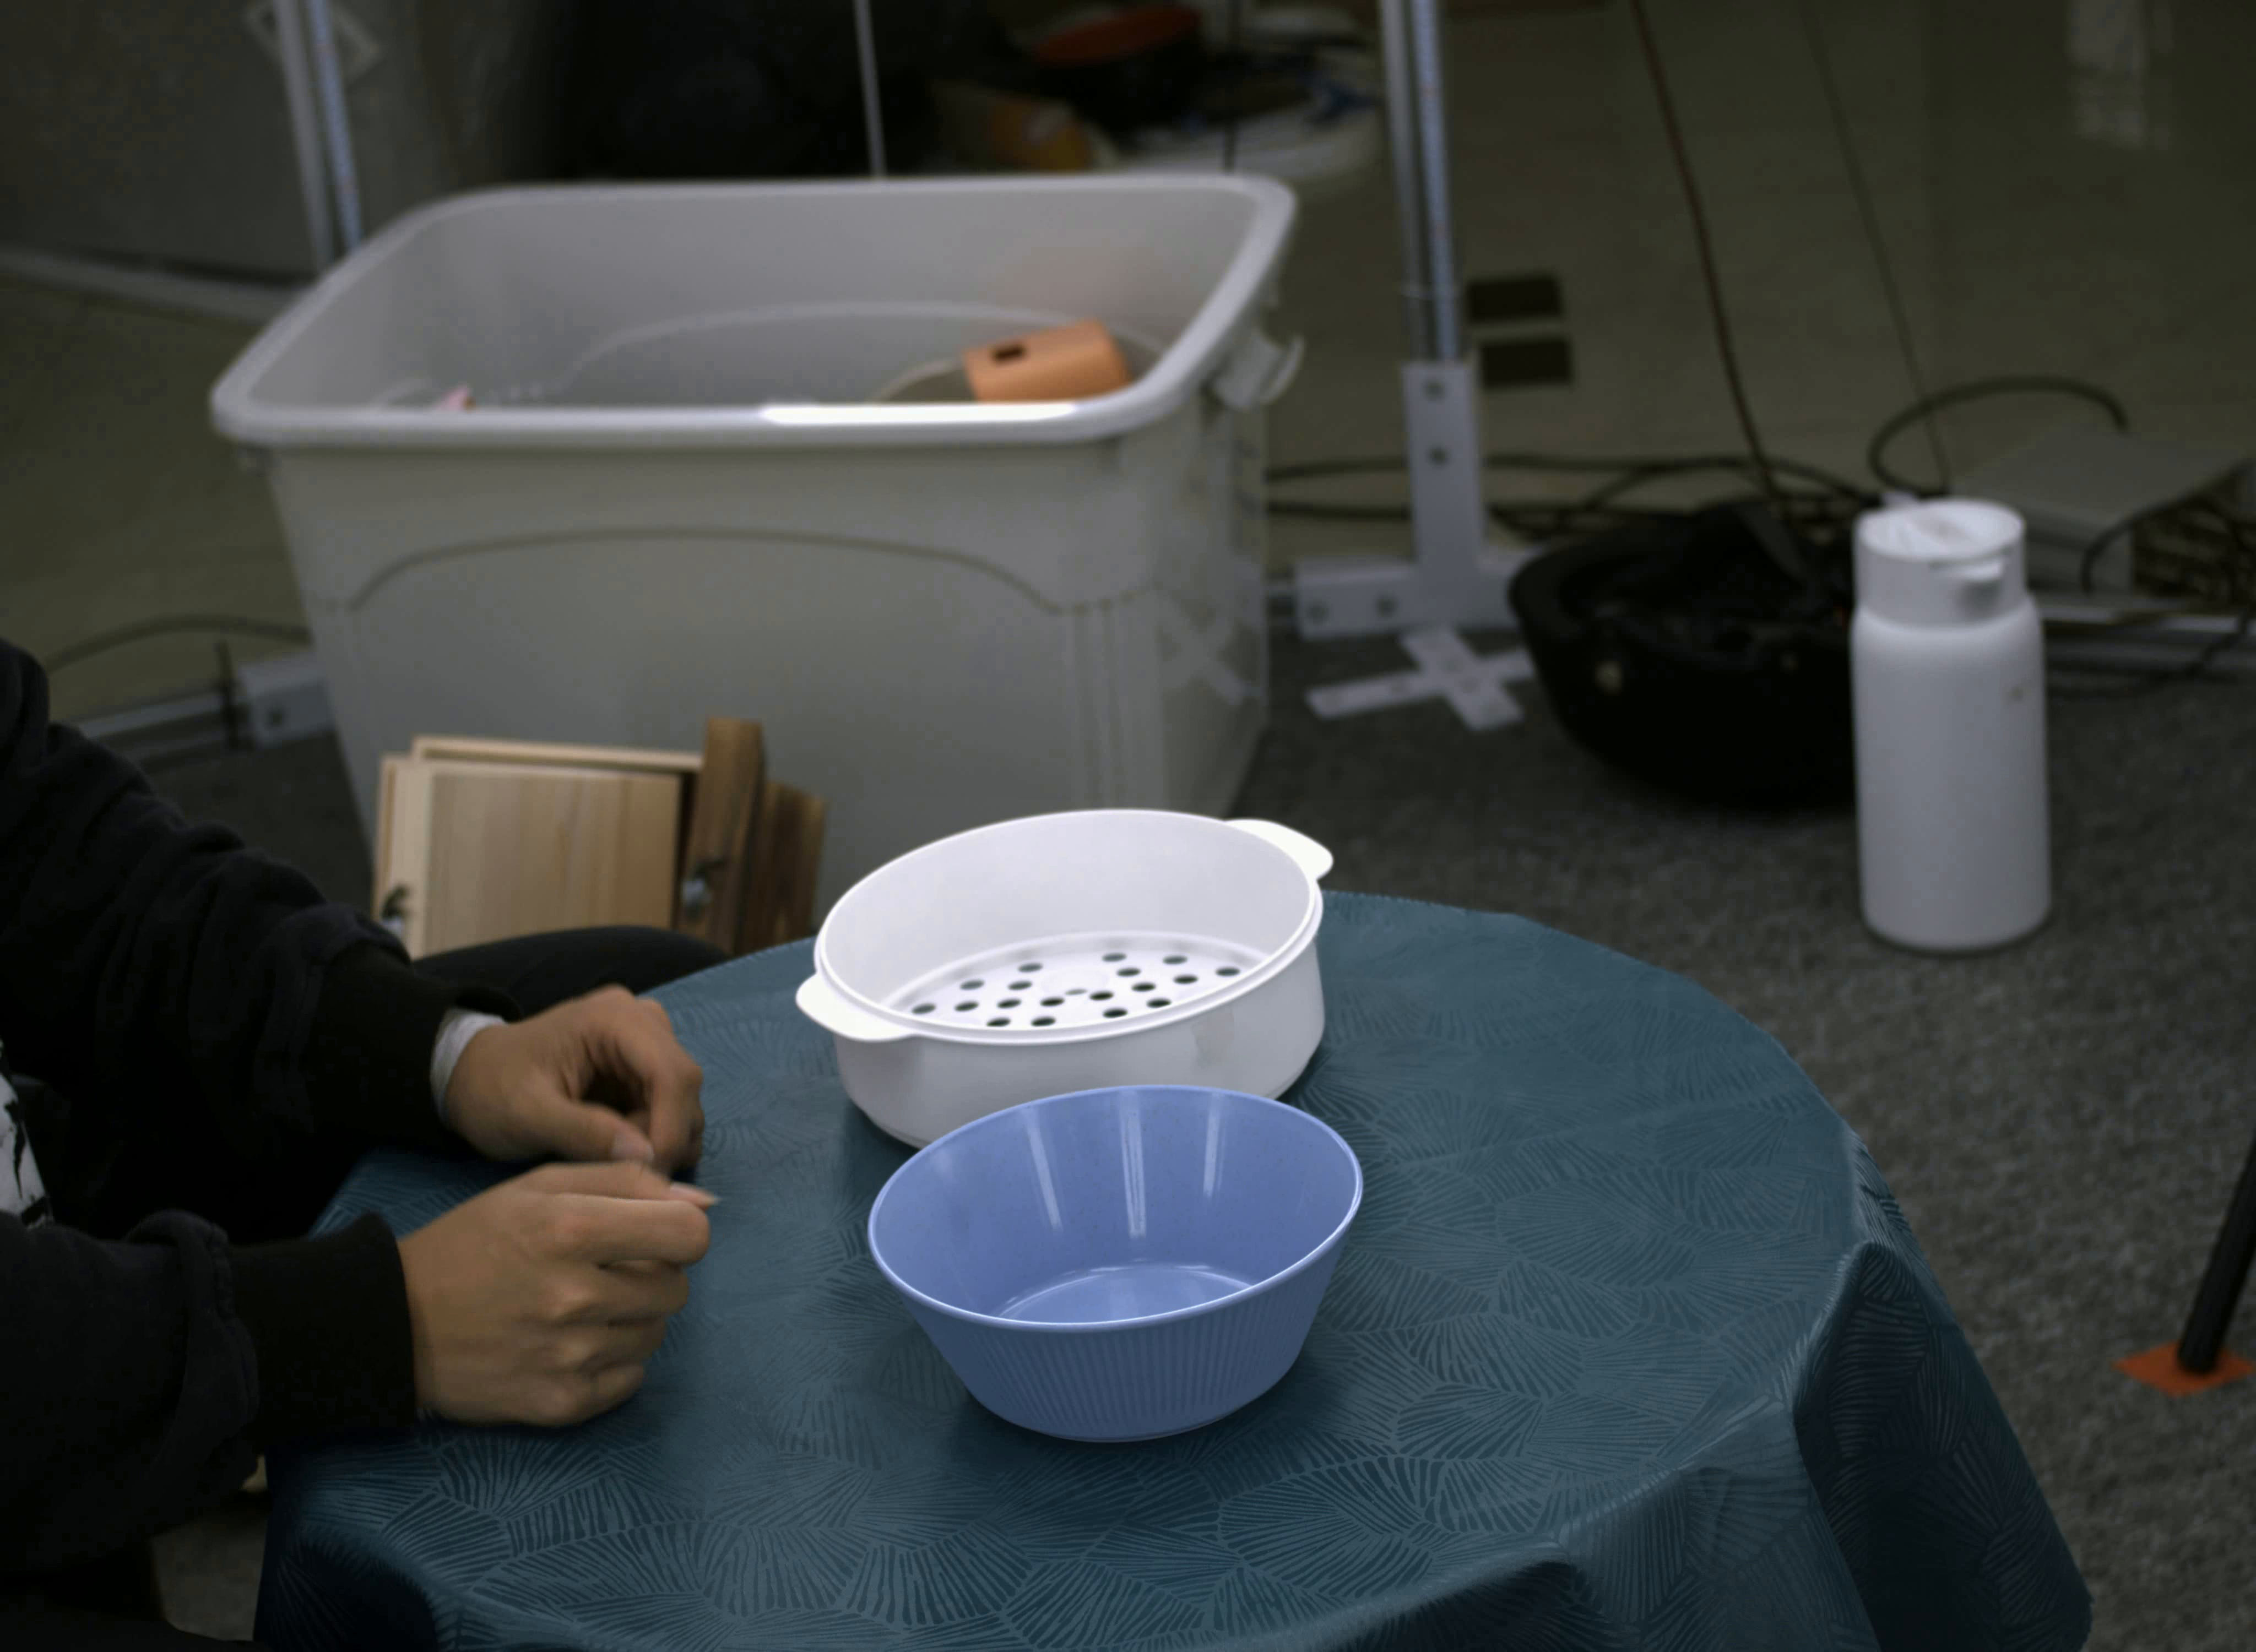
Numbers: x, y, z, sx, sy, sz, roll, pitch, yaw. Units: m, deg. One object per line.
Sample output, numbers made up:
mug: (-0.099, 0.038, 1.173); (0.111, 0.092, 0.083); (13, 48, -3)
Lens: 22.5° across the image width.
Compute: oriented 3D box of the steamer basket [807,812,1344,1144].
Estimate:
steamer basket: (-0.017, 0.063, 2.237); (0.229, 0.070, 0.200); (-19, 28, -29)

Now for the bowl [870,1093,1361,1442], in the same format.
bowl: (-0.001, 0.163, 2.018); (0.176, 0.071, 0.173); (-5, 24, 3)
